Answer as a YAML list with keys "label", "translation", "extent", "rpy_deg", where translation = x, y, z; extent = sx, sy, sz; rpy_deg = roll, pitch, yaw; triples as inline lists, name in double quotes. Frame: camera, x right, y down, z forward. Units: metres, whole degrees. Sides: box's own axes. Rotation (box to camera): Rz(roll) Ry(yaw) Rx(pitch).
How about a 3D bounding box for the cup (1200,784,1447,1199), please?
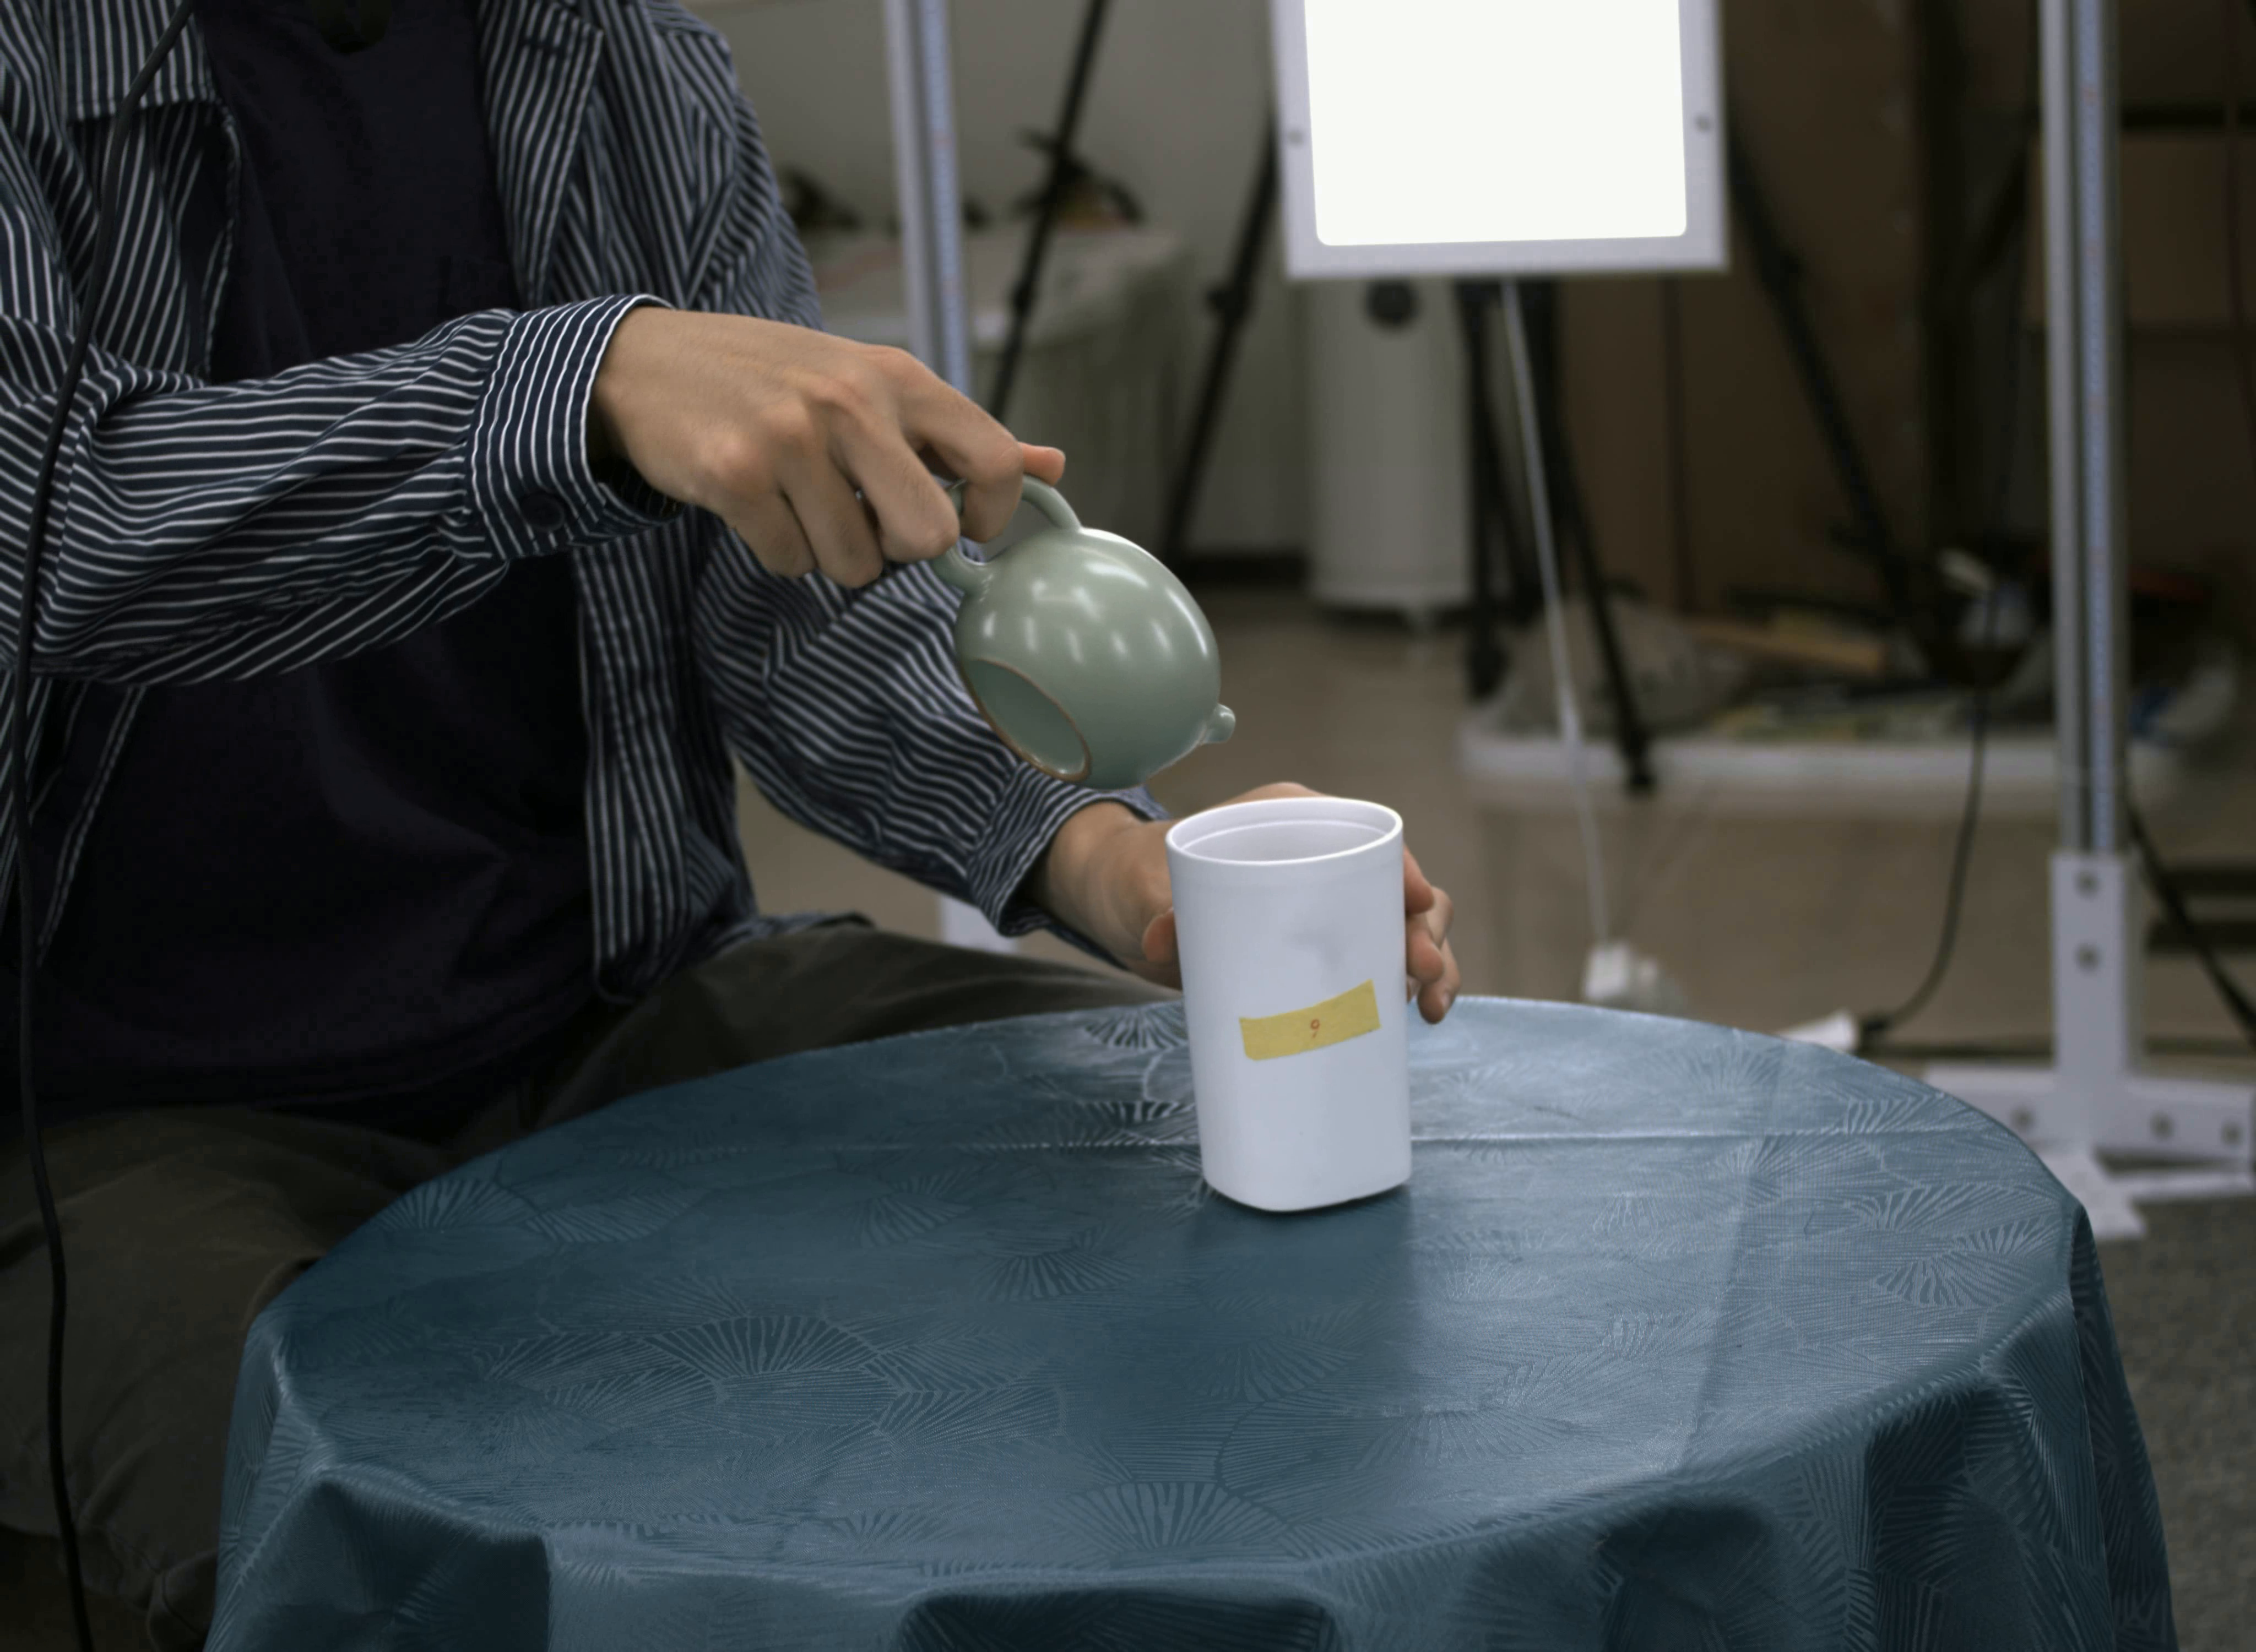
- label: "cup"
  translation: [0.070, 0.056, 1.868]
  extent: [0.081, 0.126, 0.081]
  rpy_deg: [-5, 15, 0]

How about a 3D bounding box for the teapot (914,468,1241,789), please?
- label: "teapot"
  translation: [-0.020, -0.061, 1.780]
  extent: [0.060, 0.128, 0.093]
  rpy_deg: [-47, 13, -21]
